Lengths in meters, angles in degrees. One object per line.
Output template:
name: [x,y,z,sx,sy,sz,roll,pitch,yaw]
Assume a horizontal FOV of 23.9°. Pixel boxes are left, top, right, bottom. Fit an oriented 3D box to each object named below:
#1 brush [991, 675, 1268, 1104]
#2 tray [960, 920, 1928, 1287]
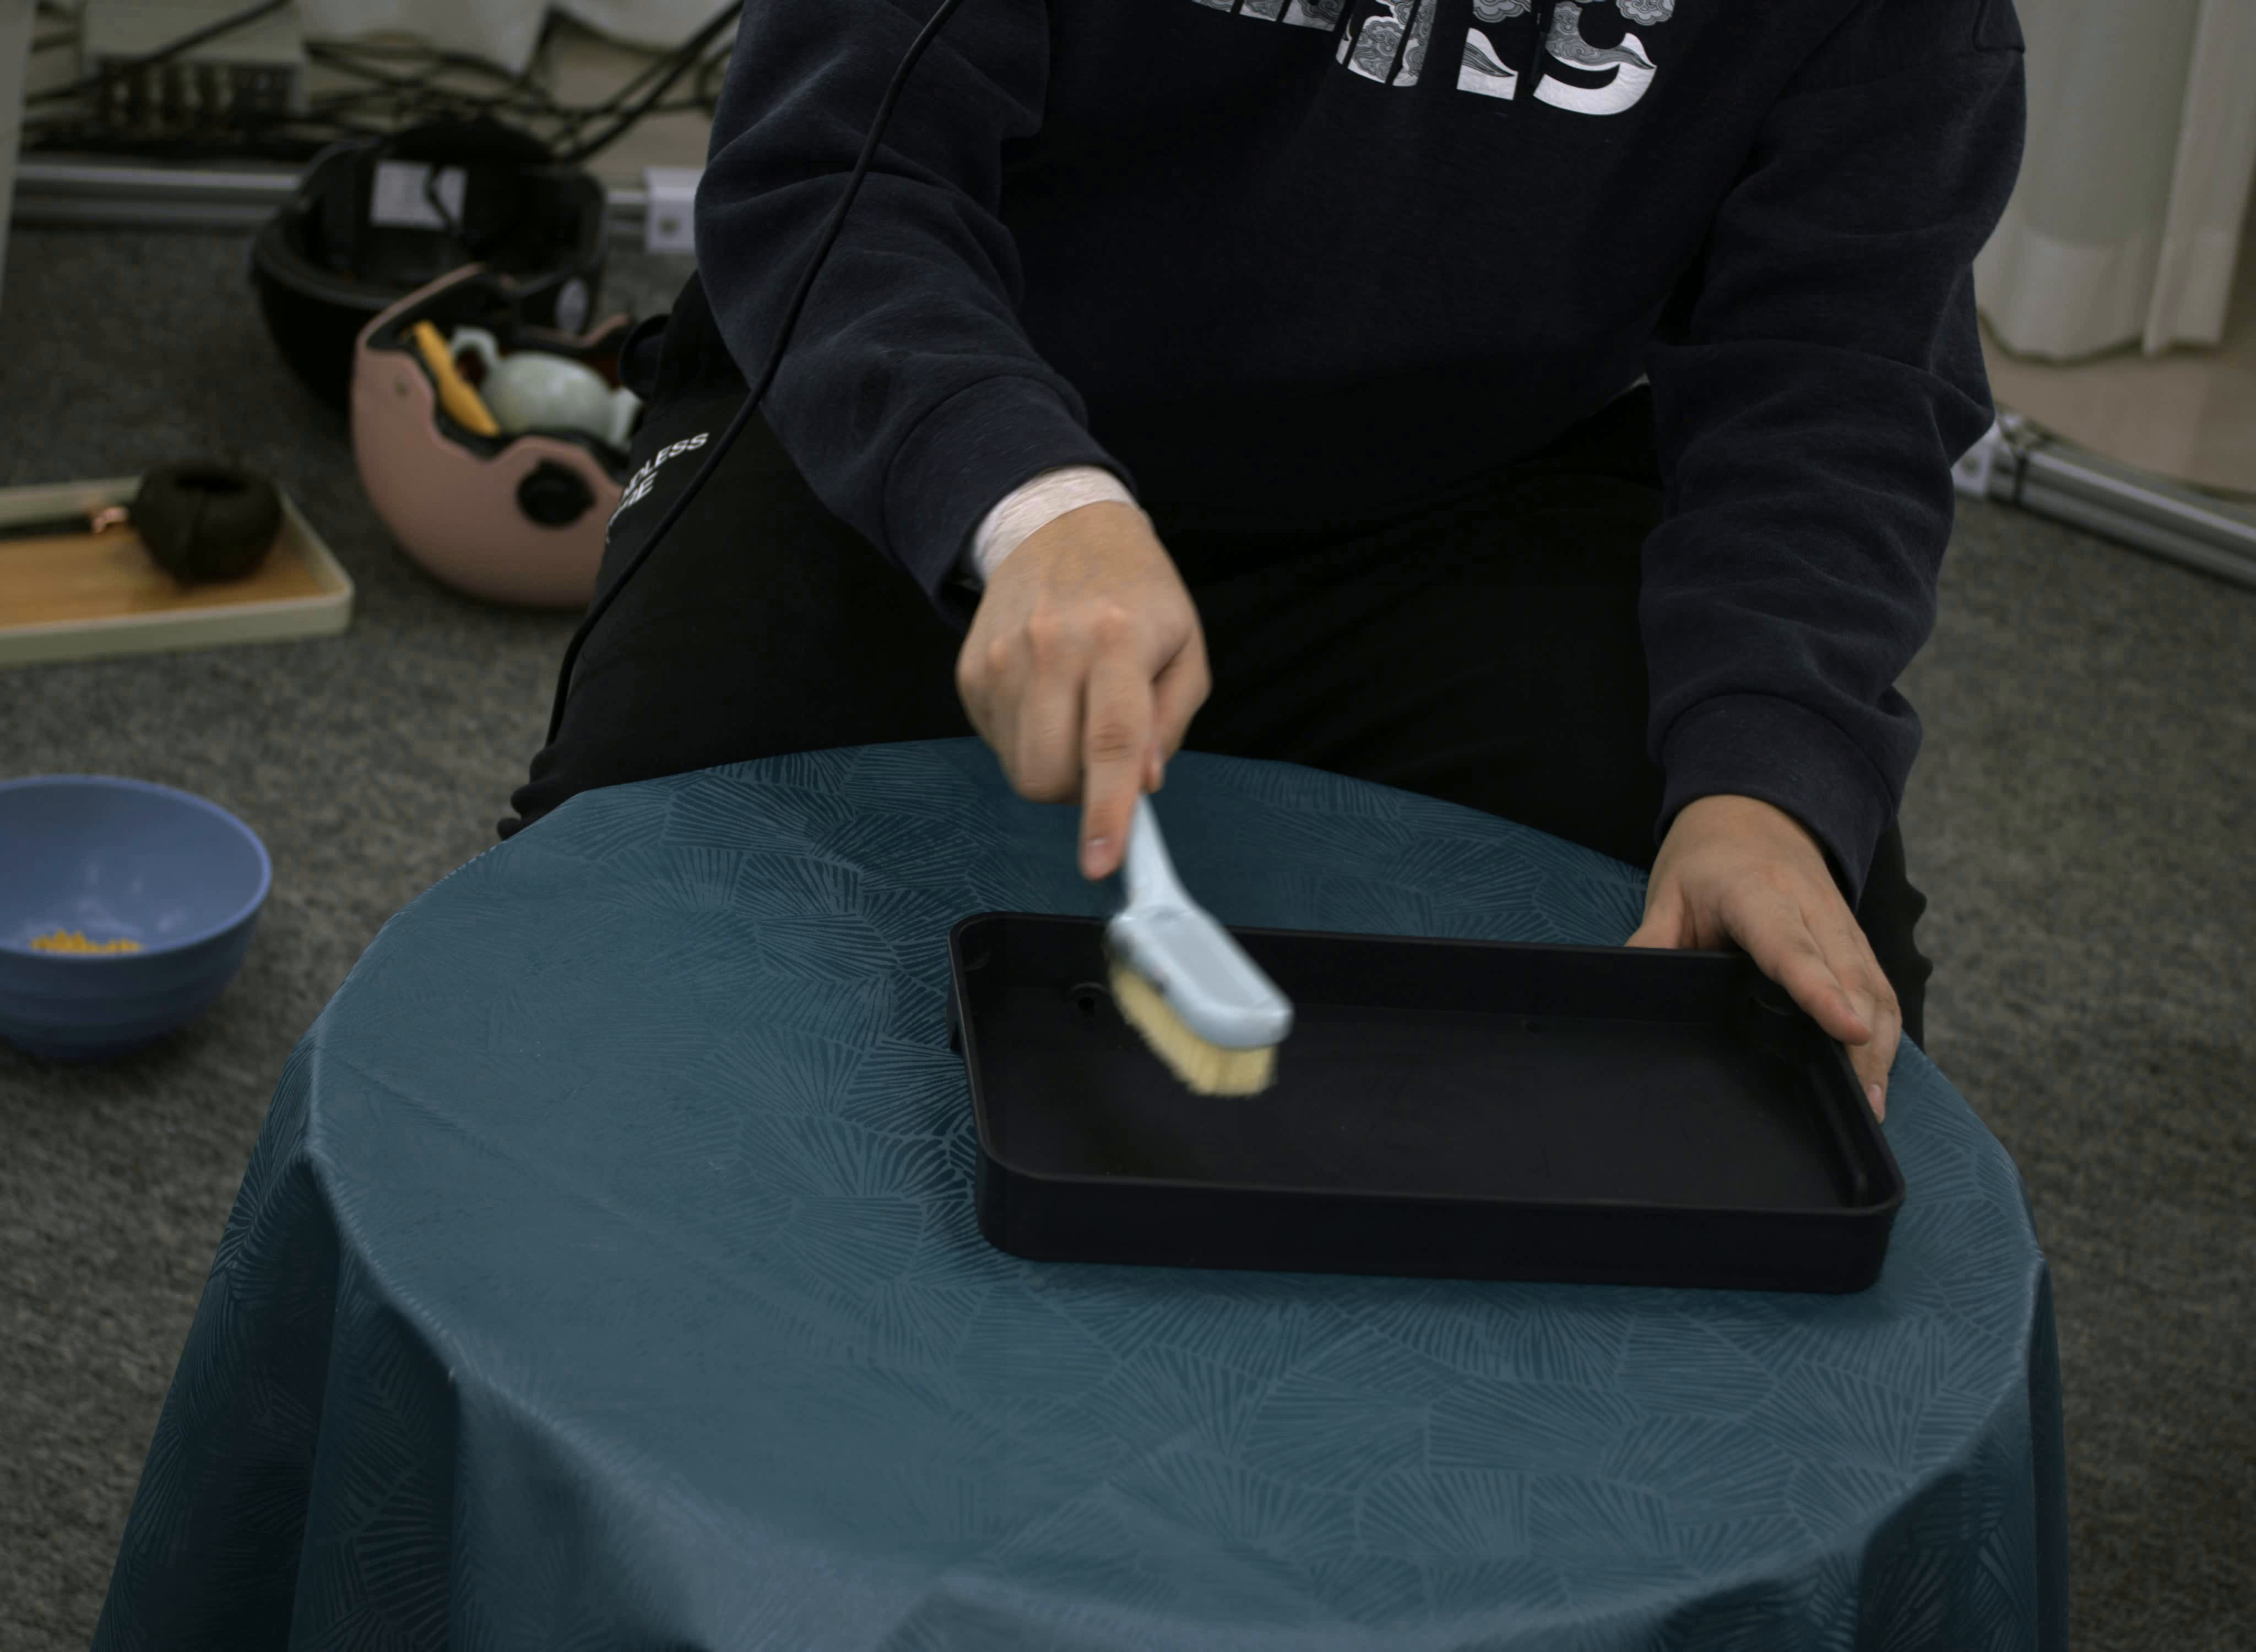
brush: [-0.006,0.017,1.849,0.037,0.049,0.231,0,37,-24]
tray: [0.104,0.095,1.847,0.316,0.037,0.185,2,26,-9]
